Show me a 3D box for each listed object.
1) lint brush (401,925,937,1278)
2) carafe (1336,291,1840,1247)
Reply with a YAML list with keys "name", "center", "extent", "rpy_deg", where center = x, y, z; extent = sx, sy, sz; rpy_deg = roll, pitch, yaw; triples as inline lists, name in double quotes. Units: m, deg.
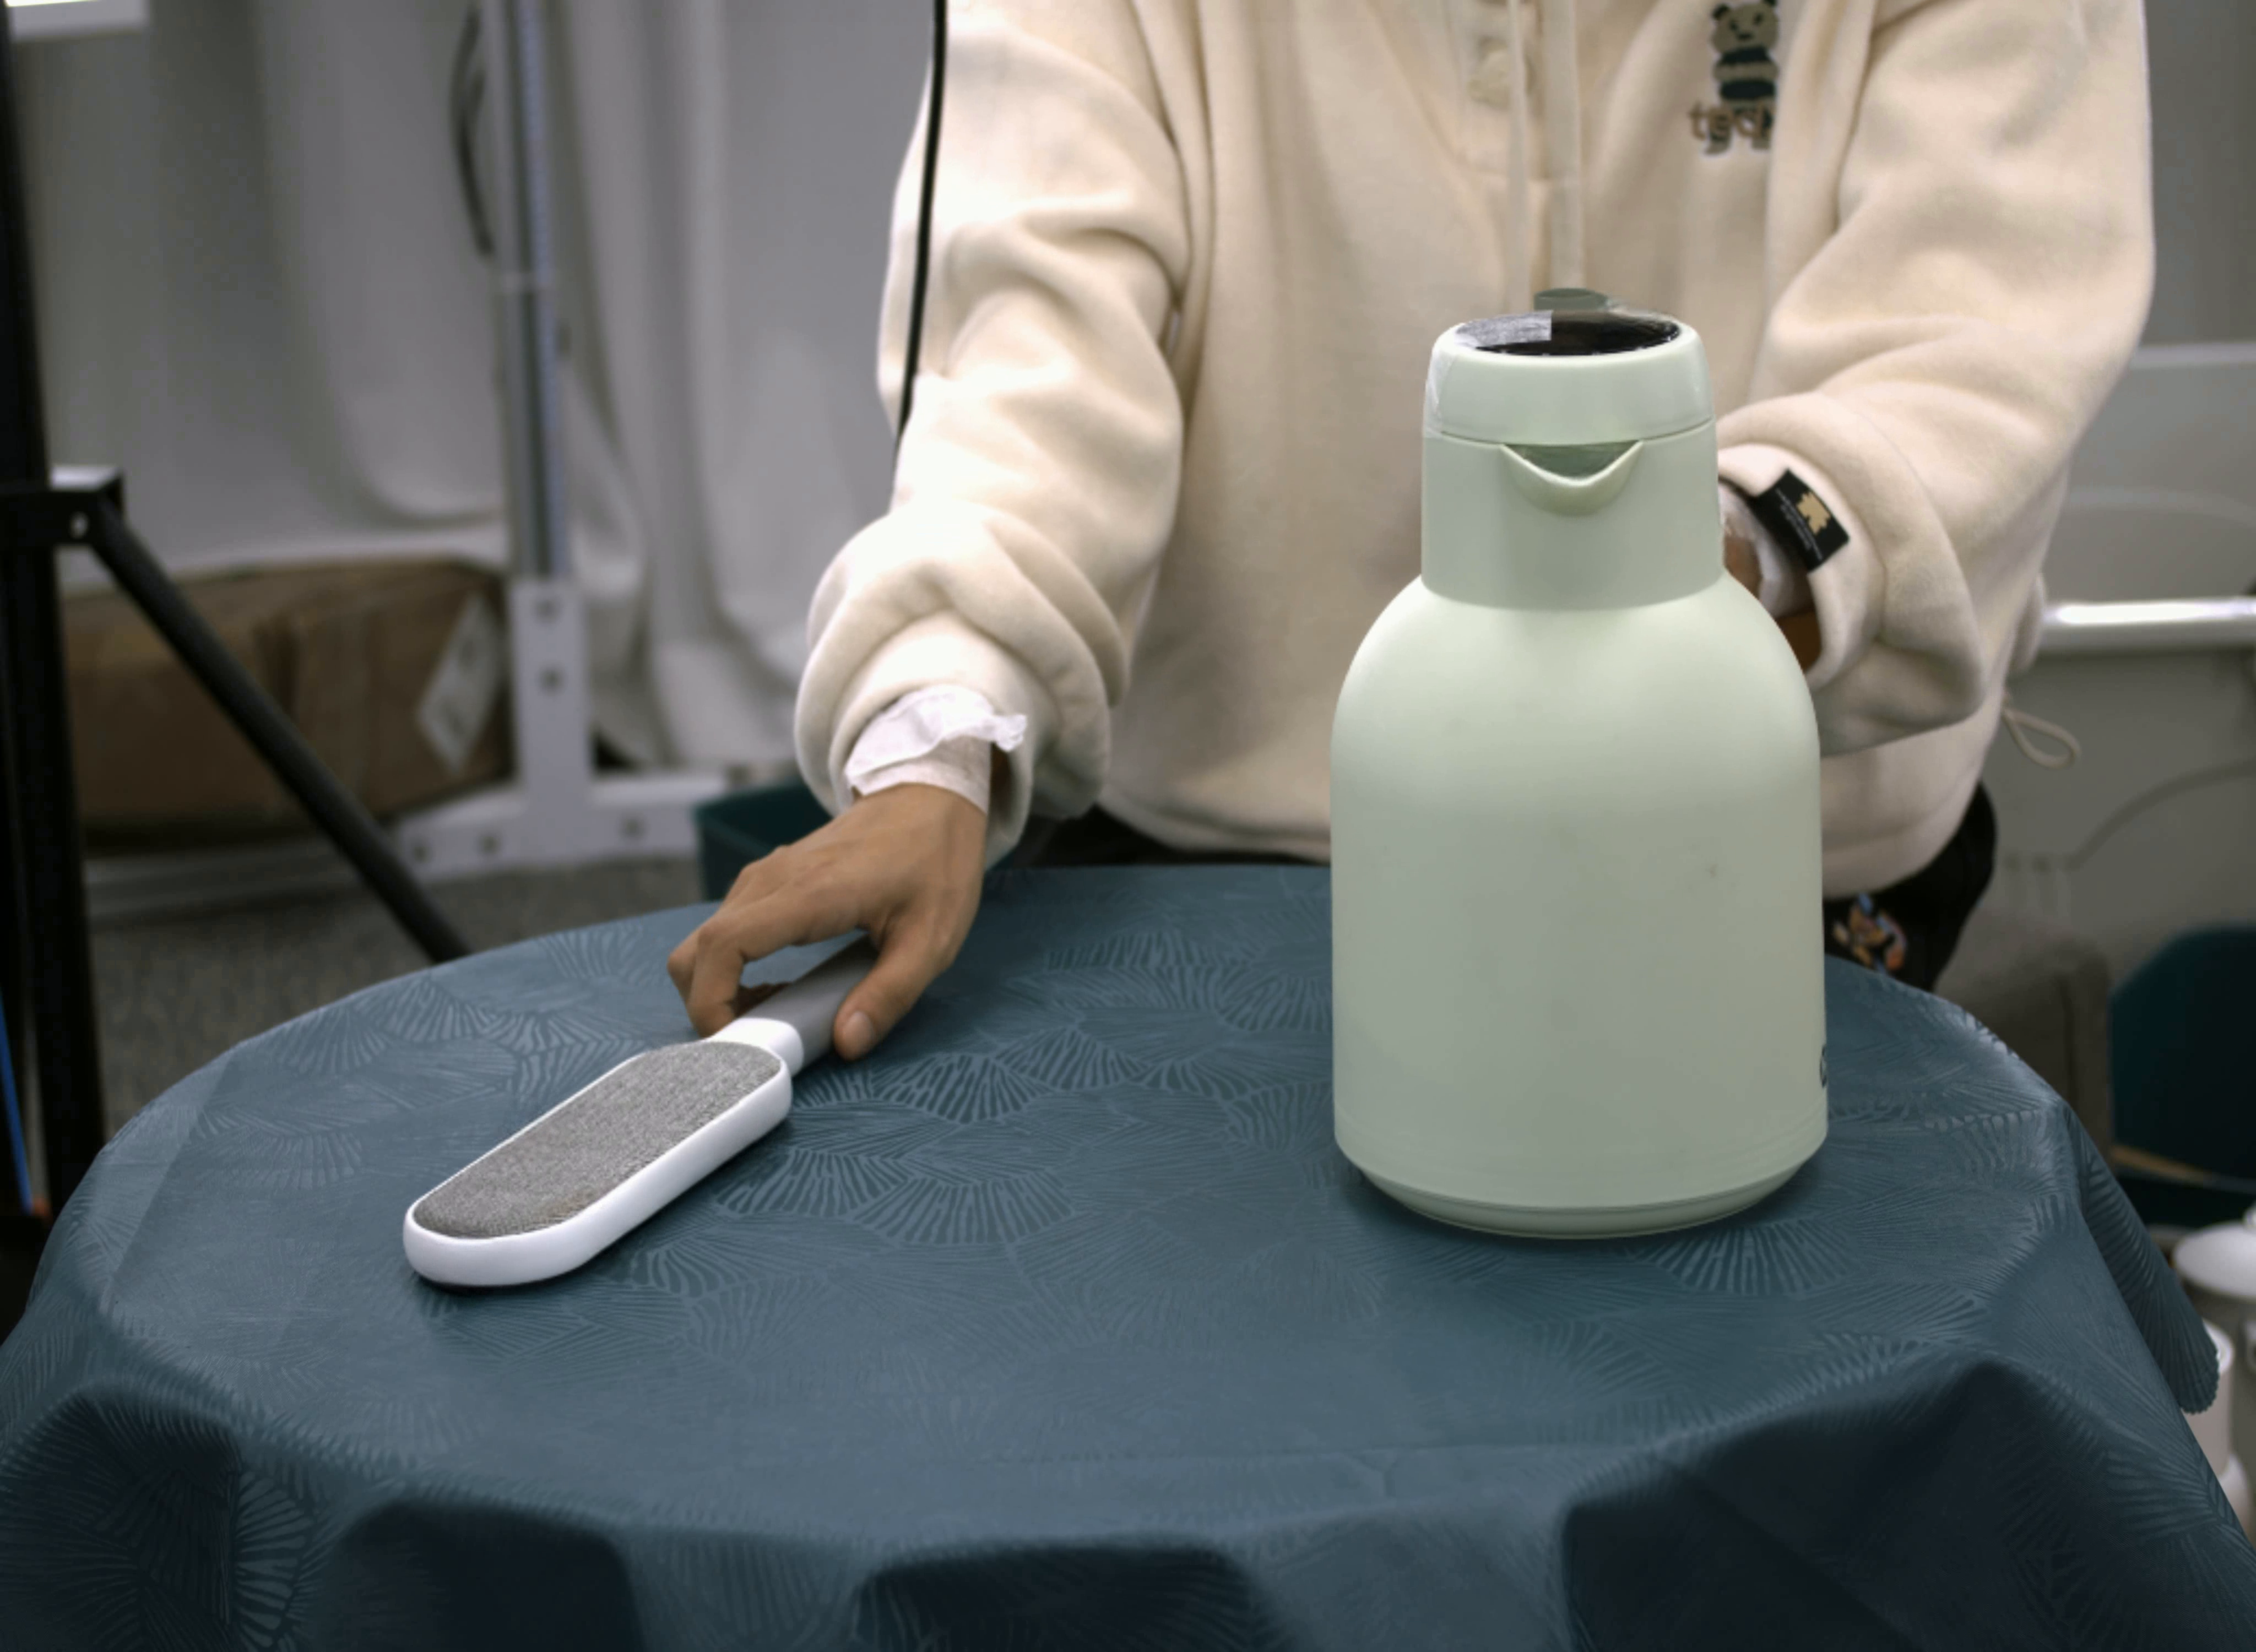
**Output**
- name: "lint brush"
  center: [-0.129, 0.081, 1.630]
  extent: [0.061, 0.021, 0.304]
  rpy_deg: [2, 16, 23]
- name: "carafe"
  center: [0.131, -0.021, 1.536]
  extent: [0.144, 0.257, 0.186]
  rpy_deg: [-2, 11, 5]
